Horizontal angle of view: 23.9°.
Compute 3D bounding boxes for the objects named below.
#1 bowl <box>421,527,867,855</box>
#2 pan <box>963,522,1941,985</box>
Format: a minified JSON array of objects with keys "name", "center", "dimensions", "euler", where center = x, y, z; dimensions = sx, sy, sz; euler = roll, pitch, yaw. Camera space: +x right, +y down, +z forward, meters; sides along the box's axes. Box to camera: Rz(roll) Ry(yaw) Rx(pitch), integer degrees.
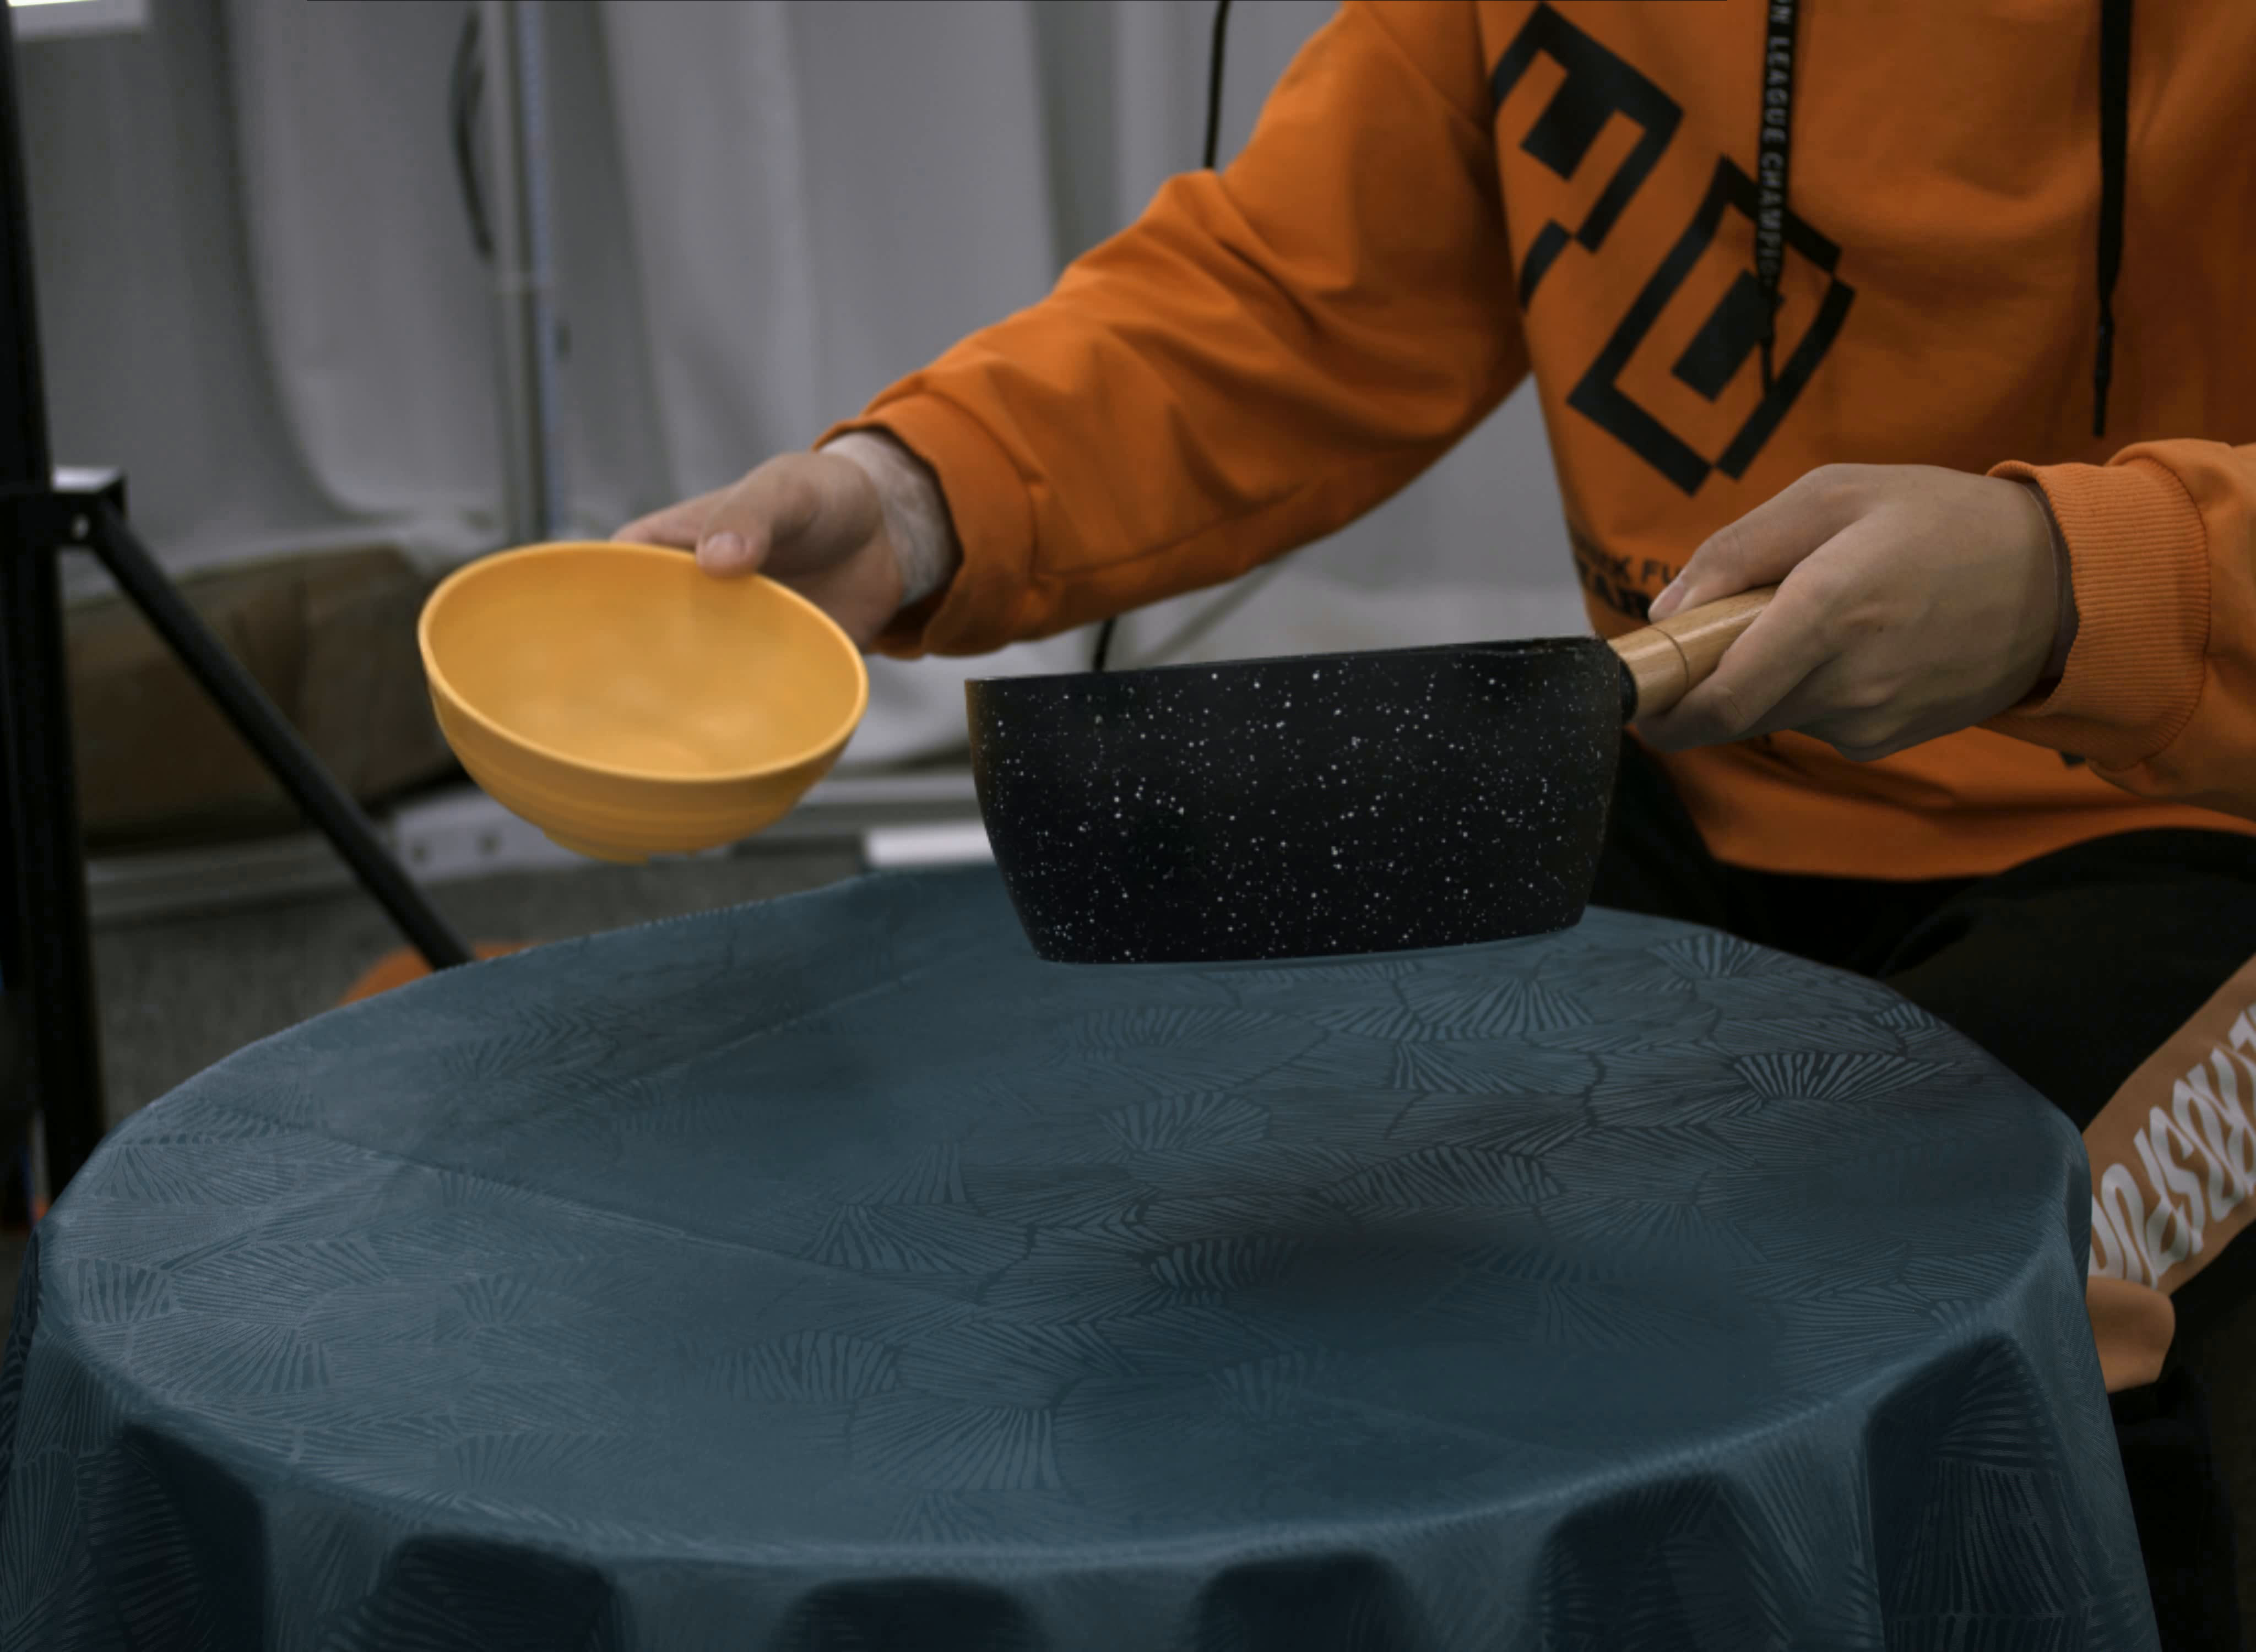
[{"name":"bowl","center":[-0.159,-0.033,1.707],"dimensions":[0.144,0.060,0.146],"euler":[9,31,-7]},{"name":"pan","center":[0.110,-0.023,1.534],"dimensions":[0.334,0.109,0.211],"euler":[-6,2,-36]}]
